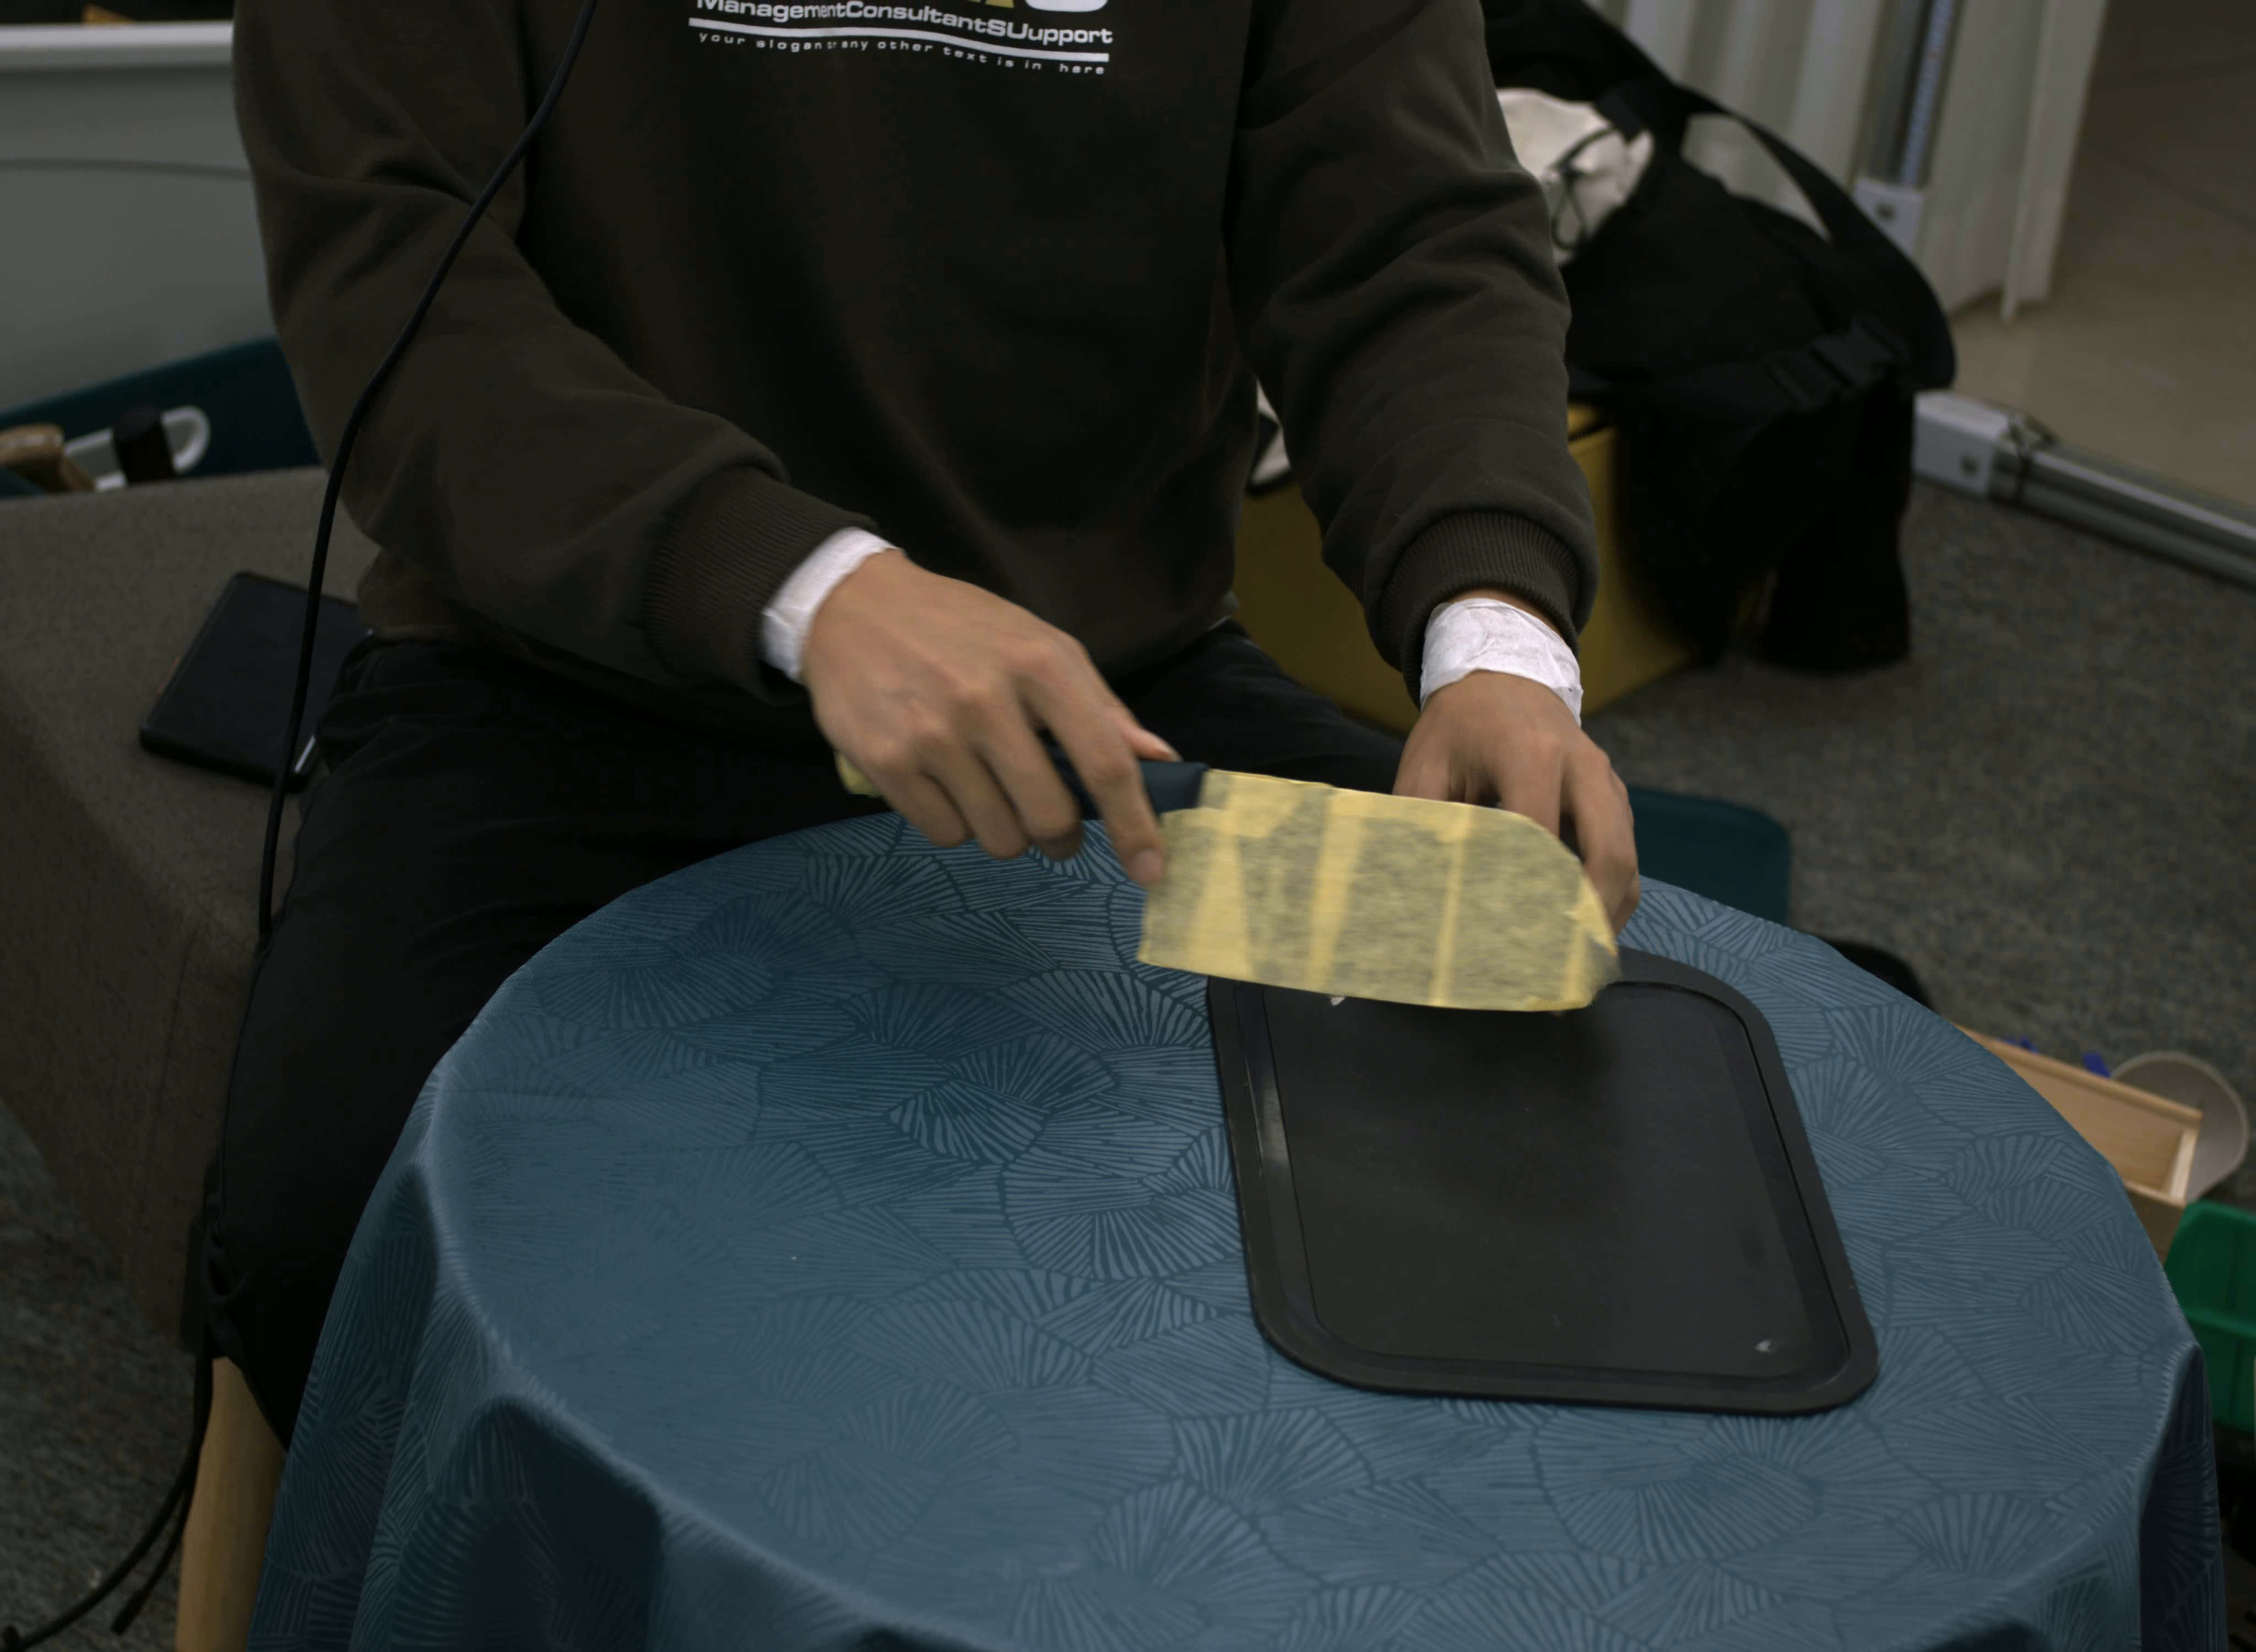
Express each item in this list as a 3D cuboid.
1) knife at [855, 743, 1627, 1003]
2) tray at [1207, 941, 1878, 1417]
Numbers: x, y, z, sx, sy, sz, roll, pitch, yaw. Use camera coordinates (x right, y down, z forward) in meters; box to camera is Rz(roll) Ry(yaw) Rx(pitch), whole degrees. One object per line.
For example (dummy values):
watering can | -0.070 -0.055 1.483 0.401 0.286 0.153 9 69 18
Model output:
knife | 0.037 0.015 1.884 0.290 0.081 0.027 11 -6 16
tray | 0.137 0.110 1.854 0.210 0.010 0.327 4 27 -5
